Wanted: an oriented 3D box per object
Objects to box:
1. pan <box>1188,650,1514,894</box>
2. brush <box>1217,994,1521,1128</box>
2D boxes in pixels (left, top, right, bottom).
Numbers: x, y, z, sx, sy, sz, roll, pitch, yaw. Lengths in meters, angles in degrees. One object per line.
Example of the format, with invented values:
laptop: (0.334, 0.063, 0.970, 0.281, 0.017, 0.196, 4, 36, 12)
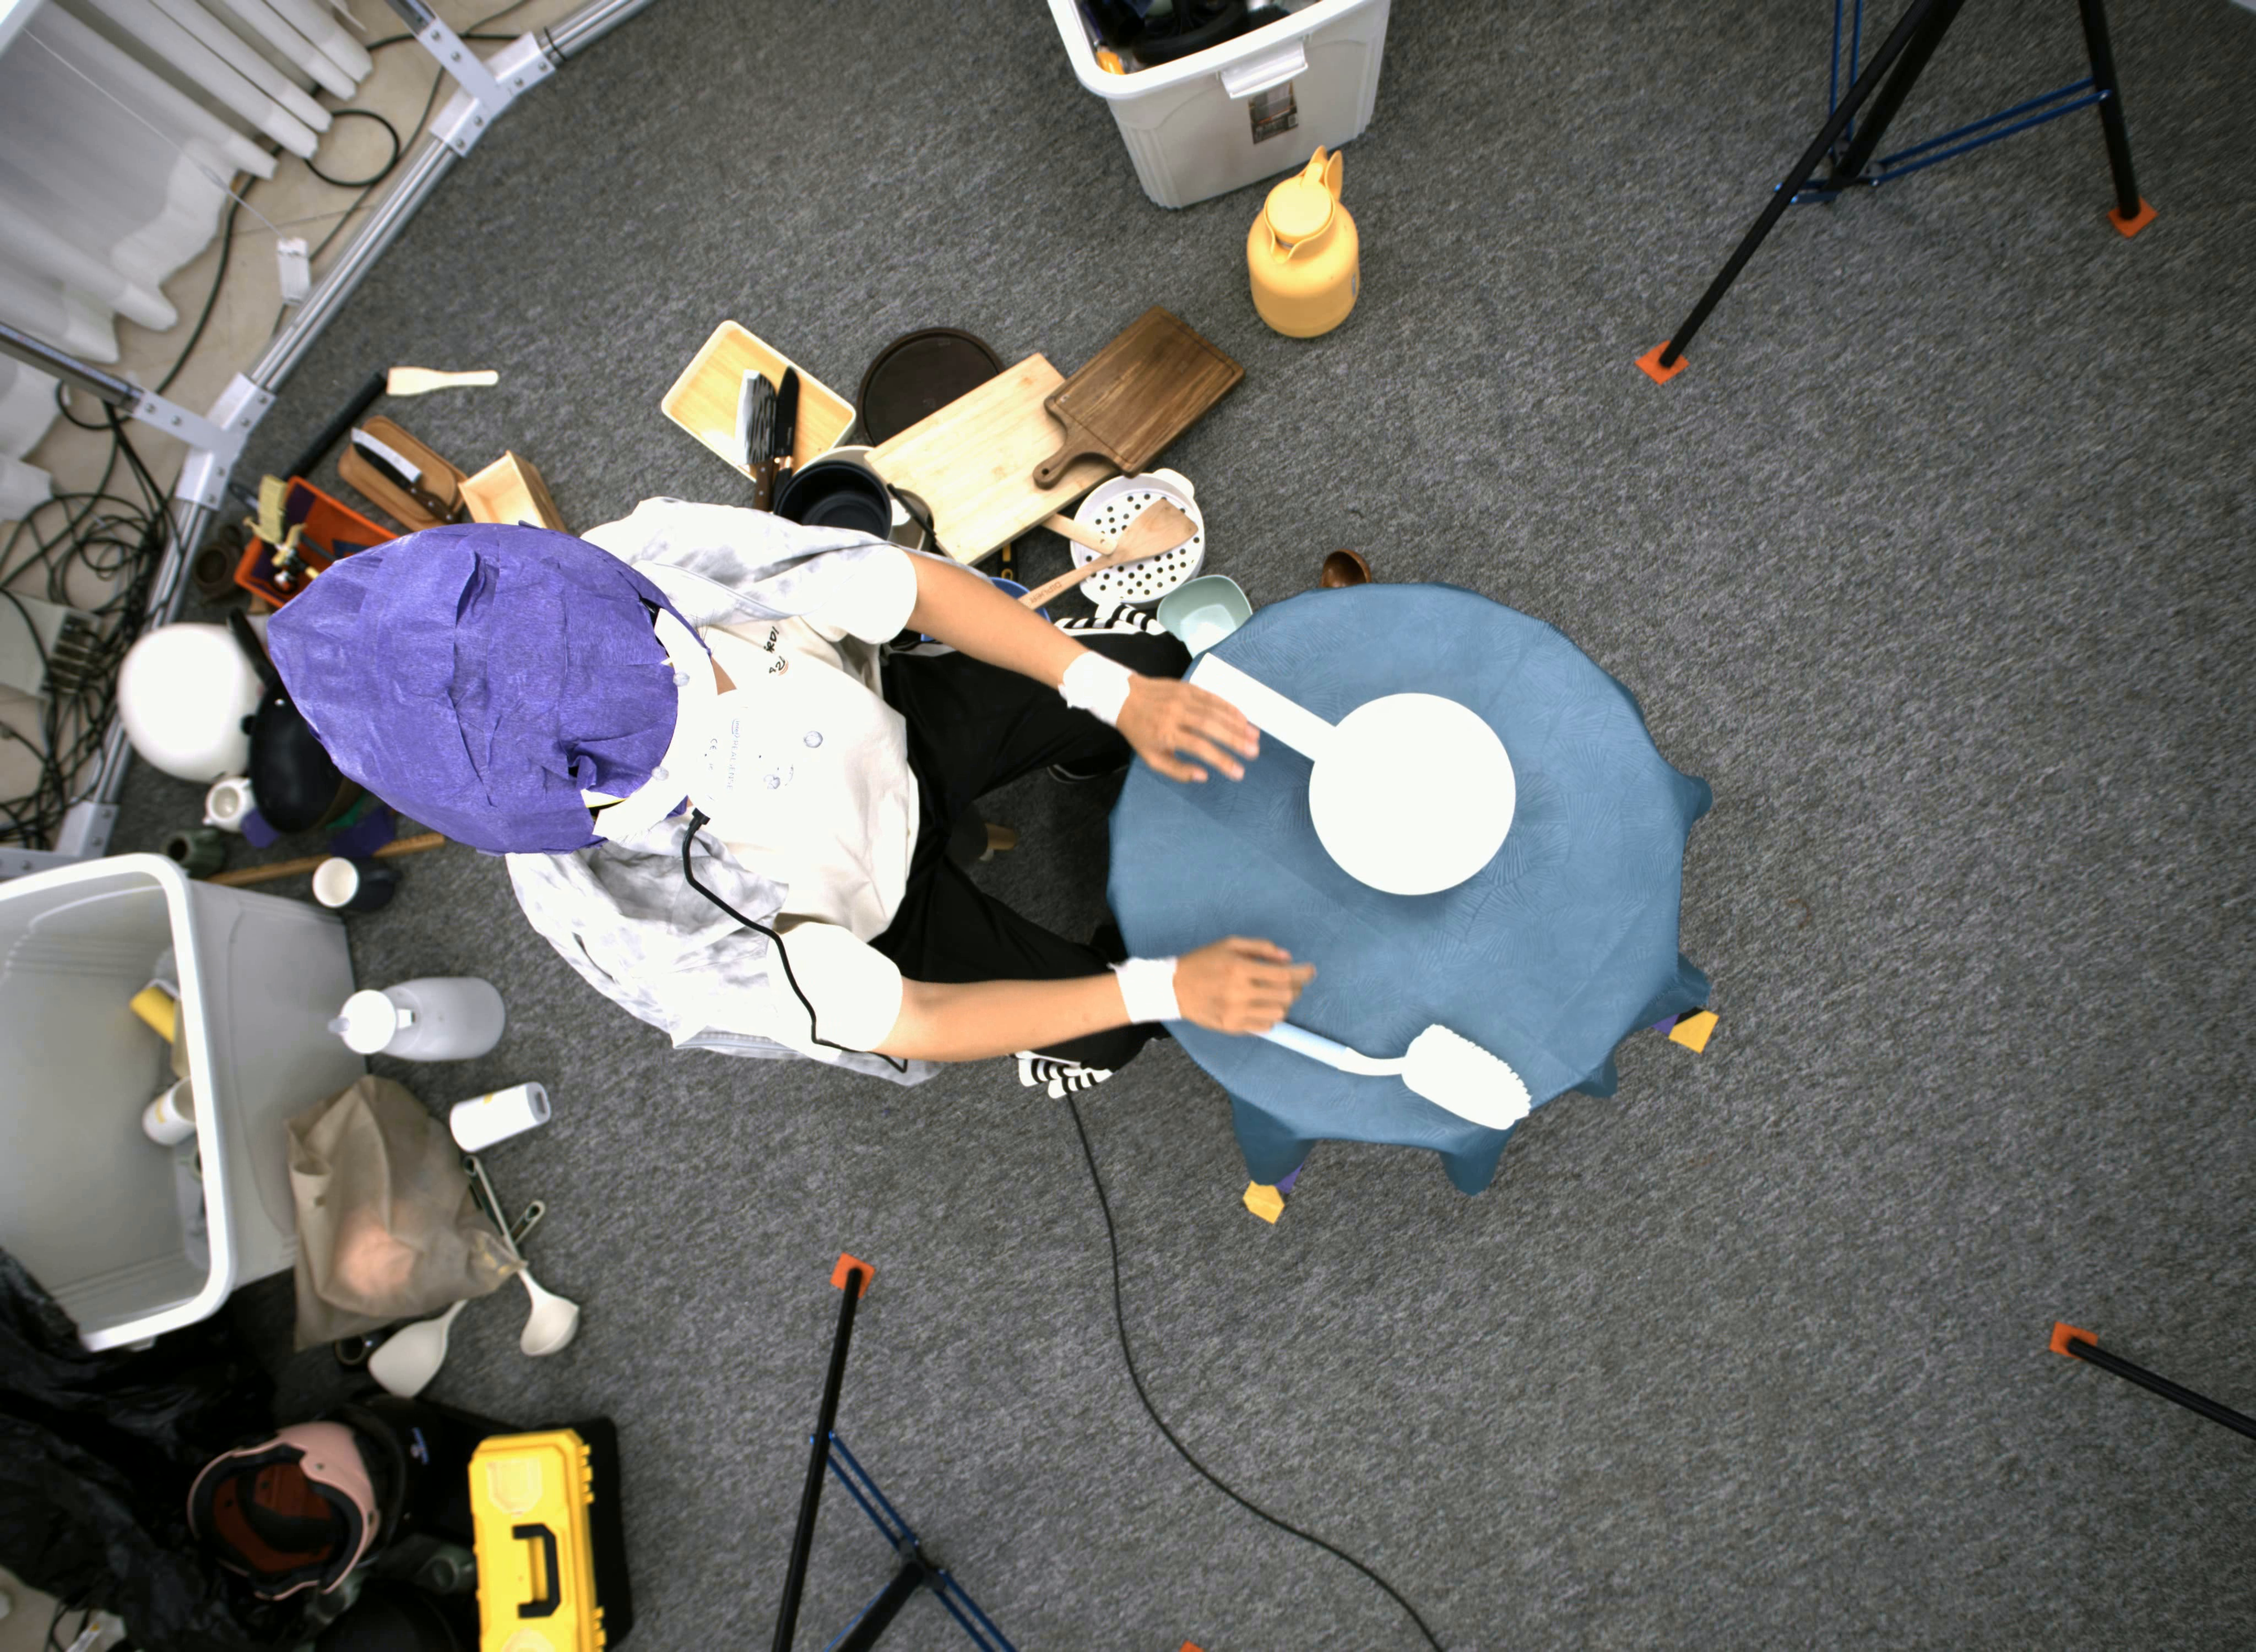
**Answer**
pan: (0.224, -0.069, 1.424, 0.354, 0.102, 0.201, 32, 93, 11)
brush: (0.247, 0.221, 1.412, 0.325, 0.082, 0.085, 21, 97, 10)
